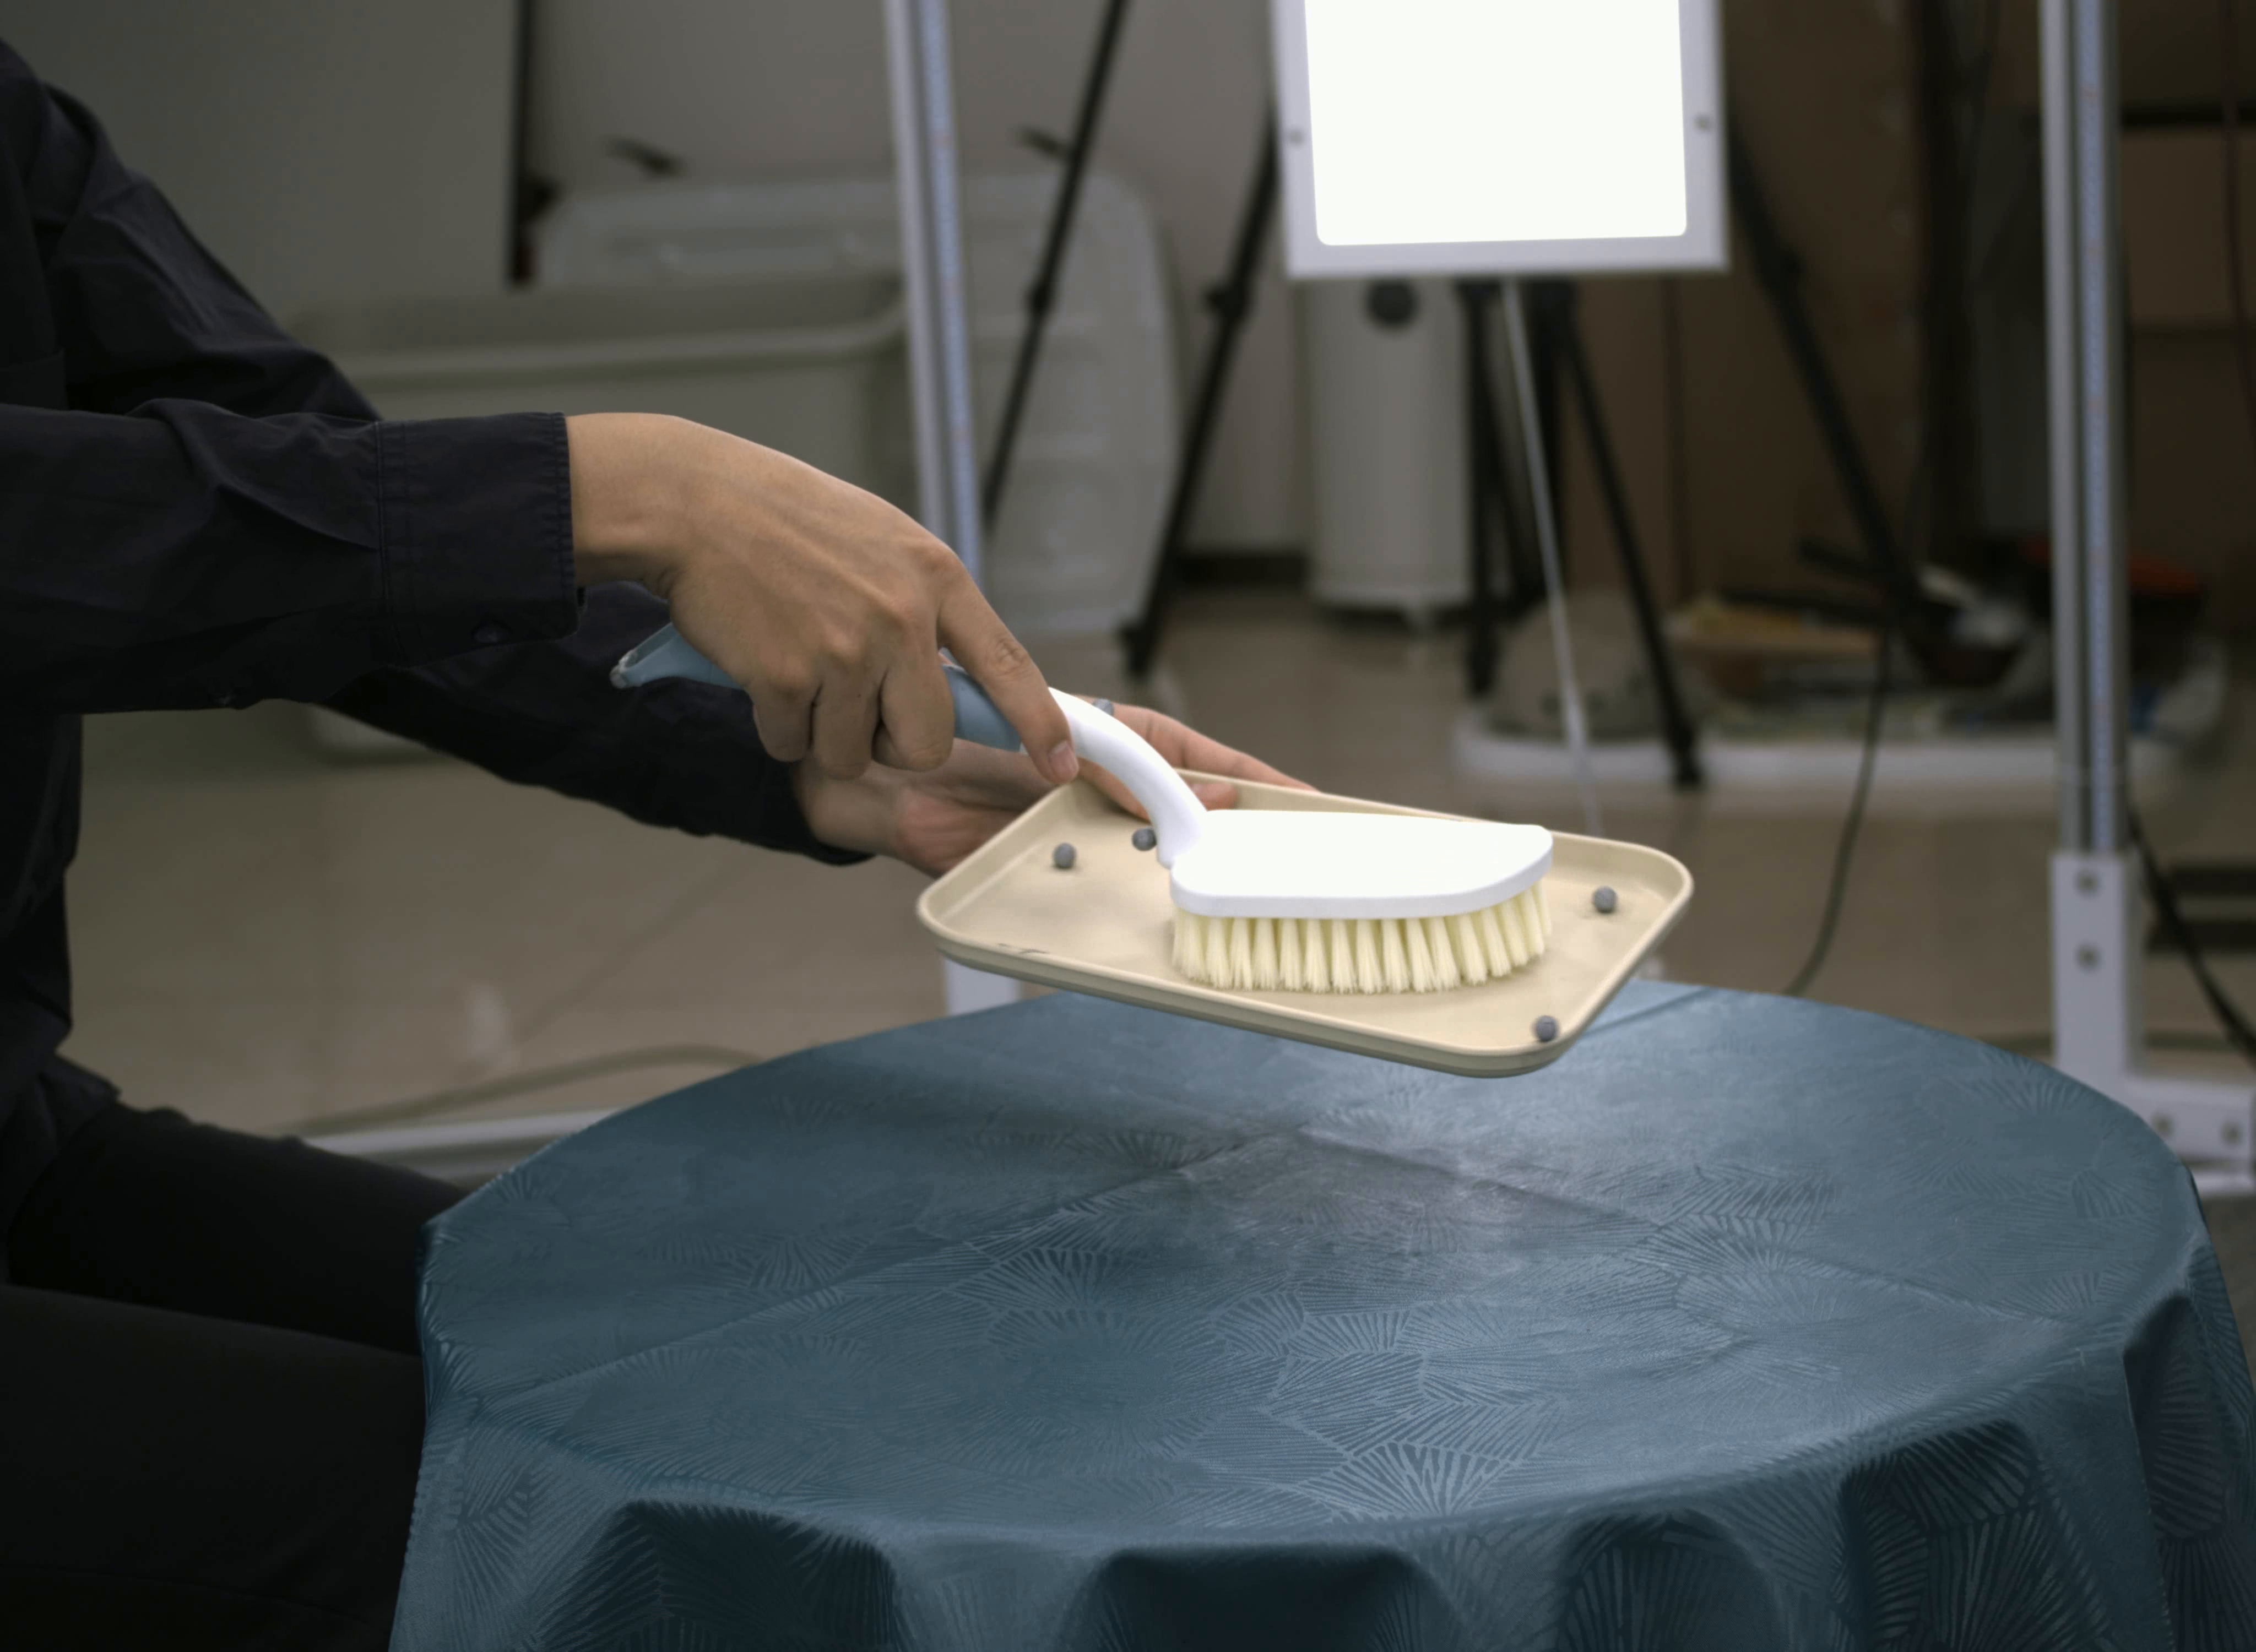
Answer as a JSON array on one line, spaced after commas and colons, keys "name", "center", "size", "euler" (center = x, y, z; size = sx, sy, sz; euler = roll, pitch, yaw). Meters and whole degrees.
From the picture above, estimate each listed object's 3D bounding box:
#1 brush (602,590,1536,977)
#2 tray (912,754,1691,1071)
[{"name": "brush", "center": [-0.022, -0.002, 1.853], "size": [0.324, 0.084, 0.083], "euler": [13, -12, 0]}, {"name": "tray", "center": [0.060, 0.029, 1.870], "size": [0.243, 0.017, 0.168], "euler": [11, 27, 25]}]
